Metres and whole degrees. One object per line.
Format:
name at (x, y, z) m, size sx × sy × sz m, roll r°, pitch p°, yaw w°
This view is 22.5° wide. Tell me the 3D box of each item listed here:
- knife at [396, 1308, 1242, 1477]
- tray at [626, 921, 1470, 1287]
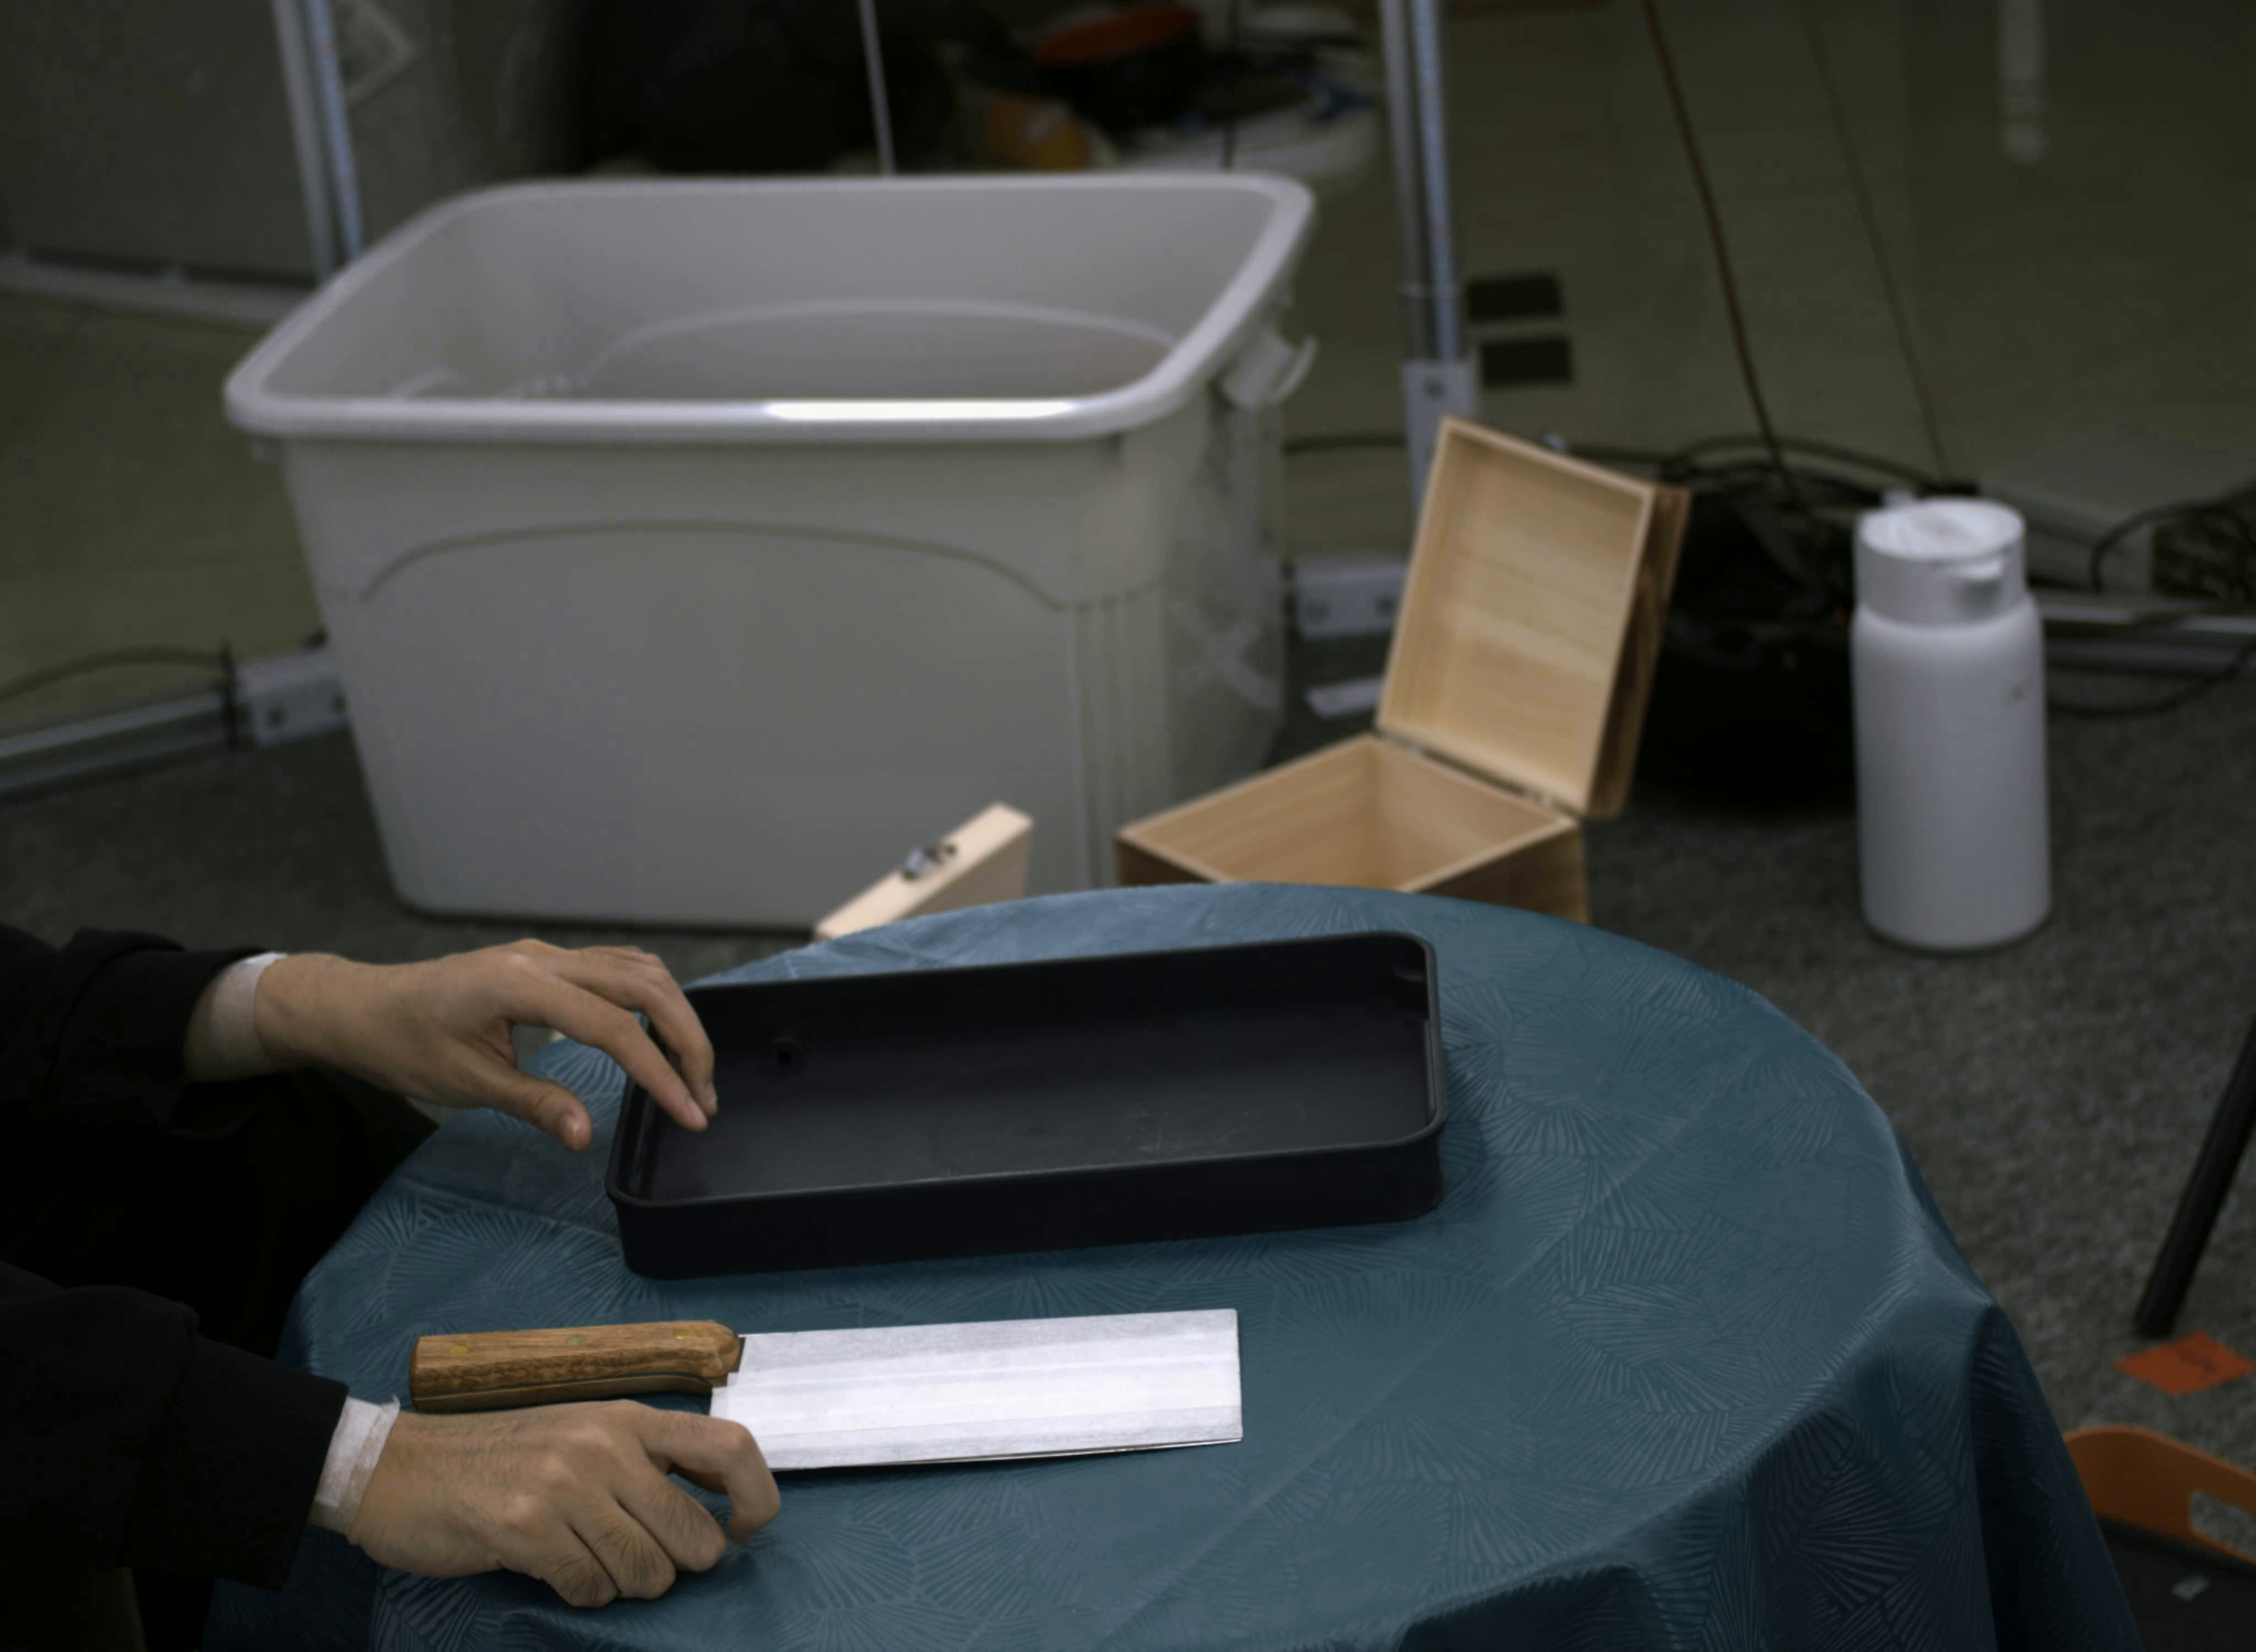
knife at (-0.112, 0.203, 2.020) m, size 0.305 × 0.021 × 0.091 m, roll -3°, pitch 27°, yaw 1°
tray at (-0.030, 0.105, 2.184) m, size 0.317 × 0.037 × 0.181 m, roll -6°, pitch 25°, yaw 2°
